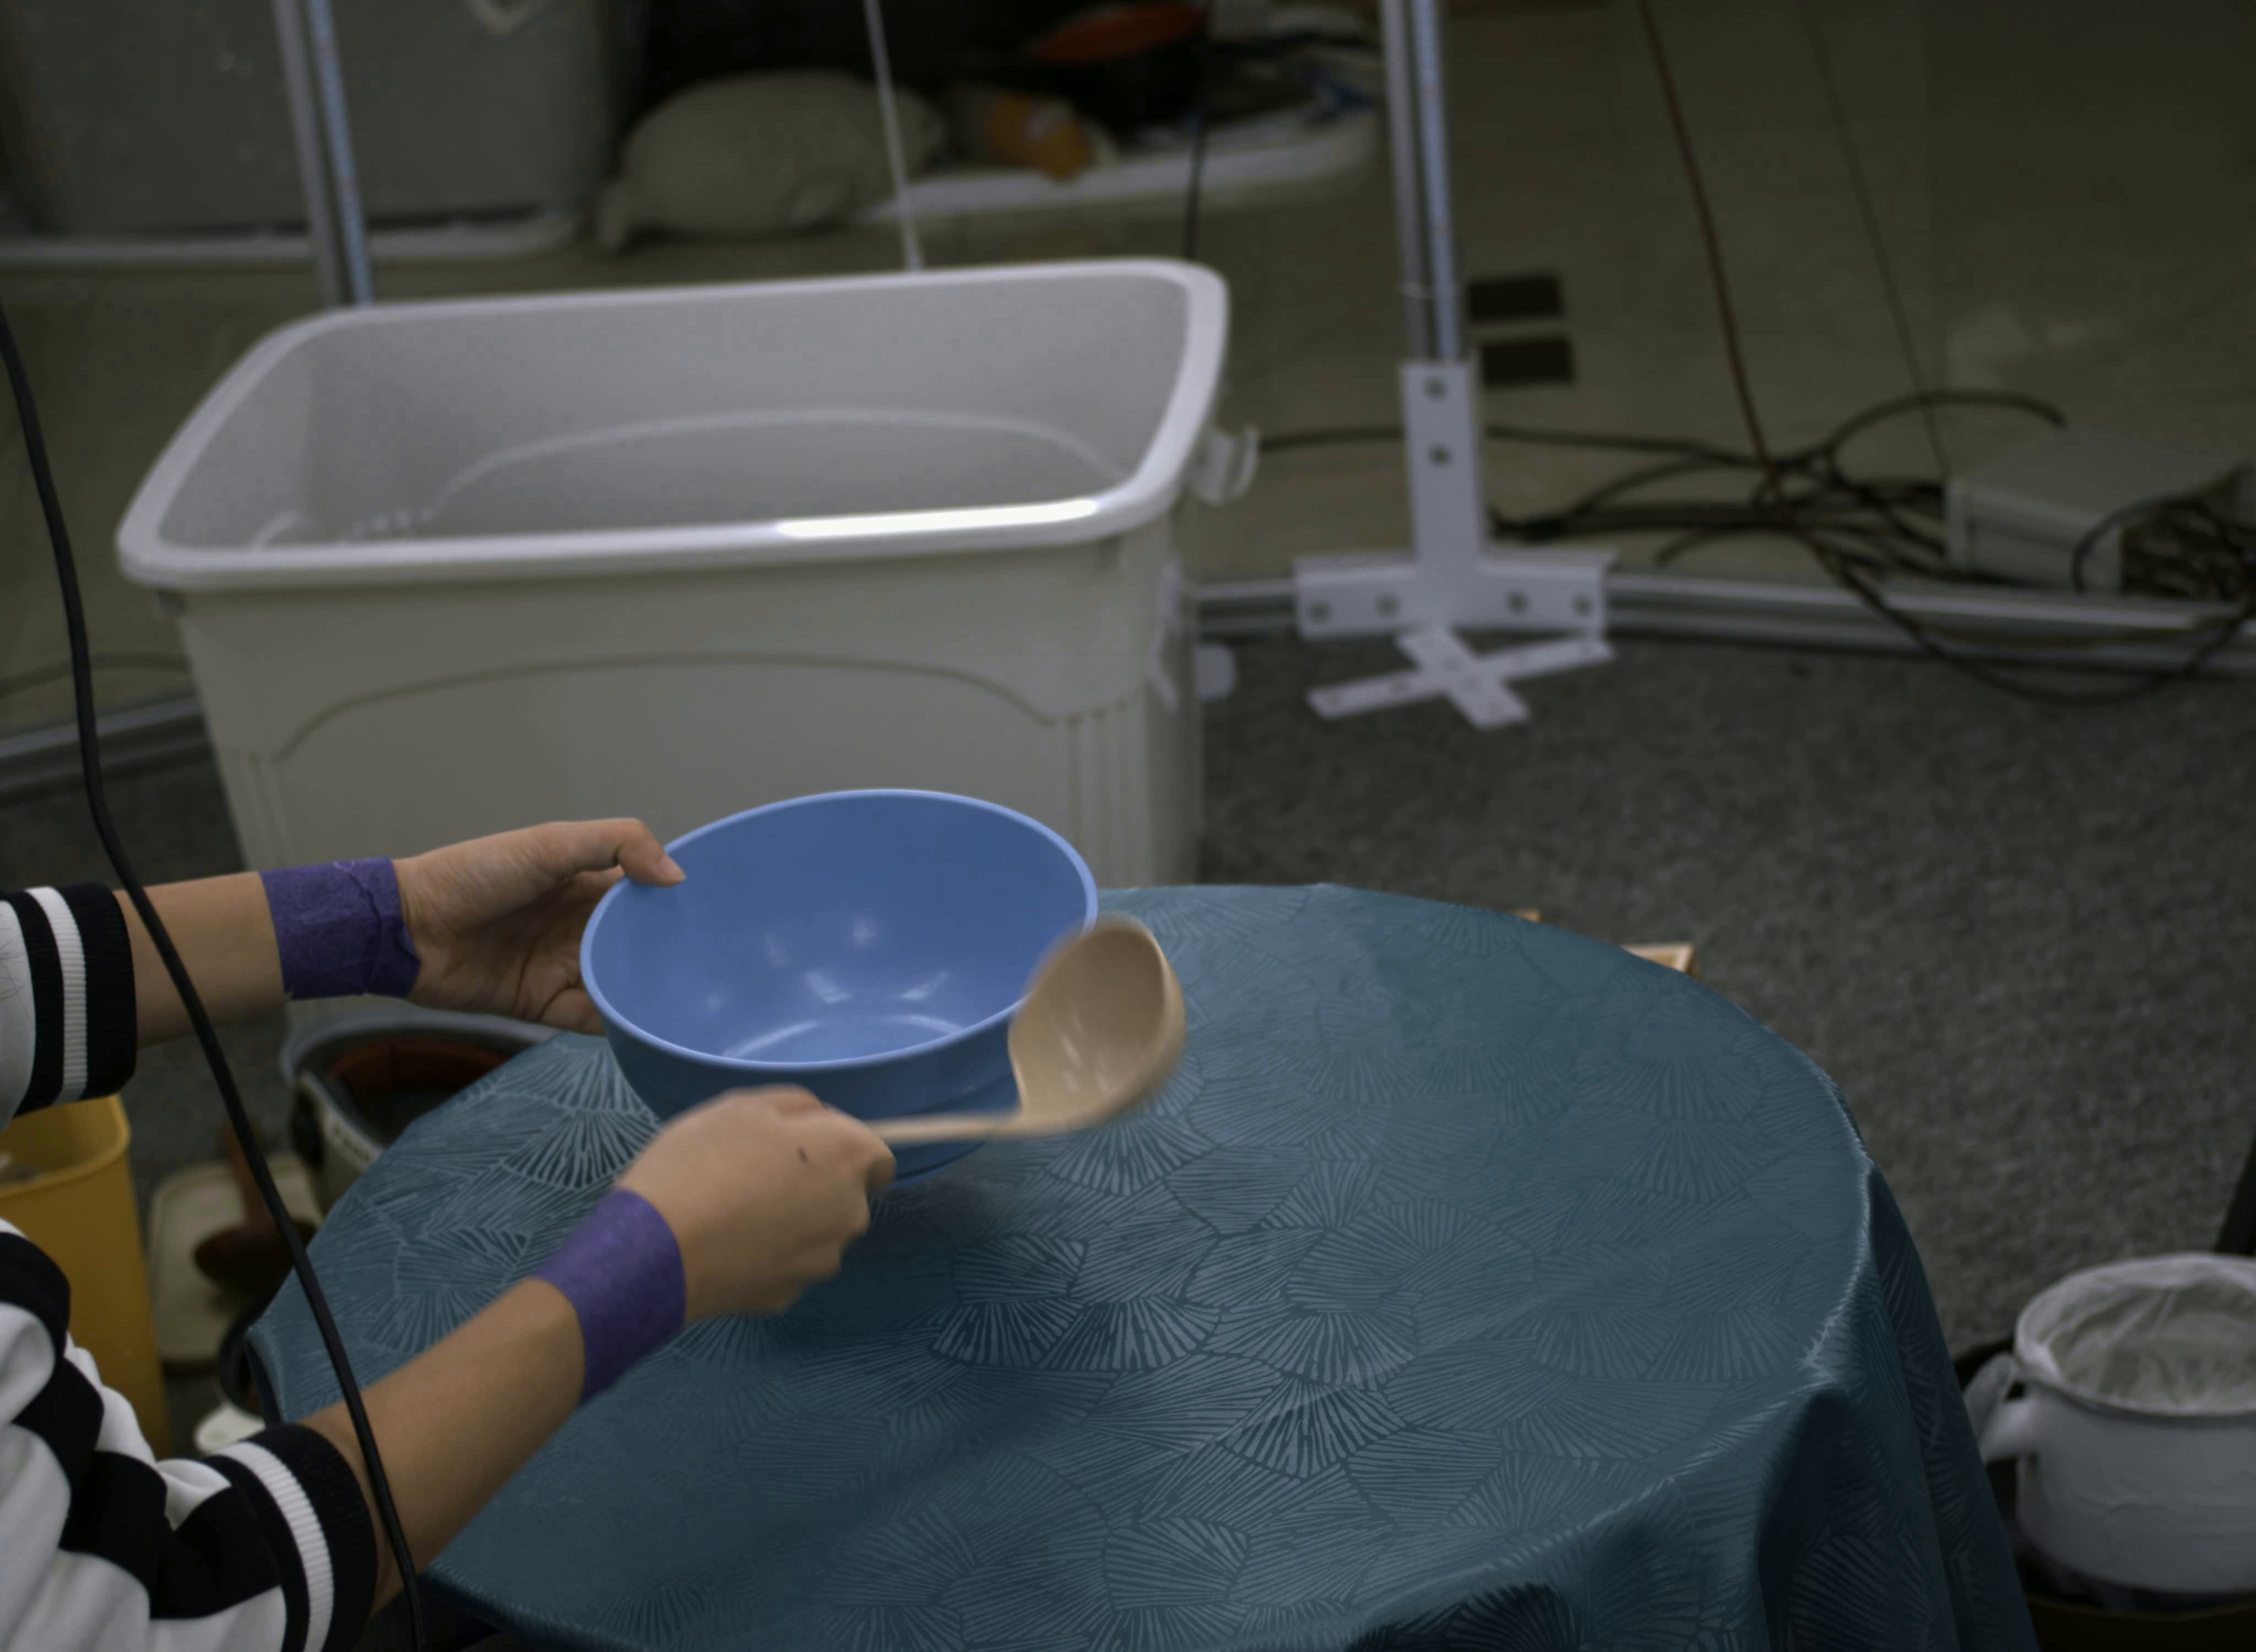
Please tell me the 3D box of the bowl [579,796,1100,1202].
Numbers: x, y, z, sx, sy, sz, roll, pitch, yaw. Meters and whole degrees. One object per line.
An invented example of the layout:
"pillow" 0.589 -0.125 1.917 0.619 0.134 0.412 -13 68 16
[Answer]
"bowl" -0.105 0.078 2.147 0.196 0.097 0.193 -4 32 2

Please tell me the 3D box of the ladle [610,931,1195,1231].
"ladle" -0.079 0.084 1.928 0.072 0.073 0.254 9 12 43
